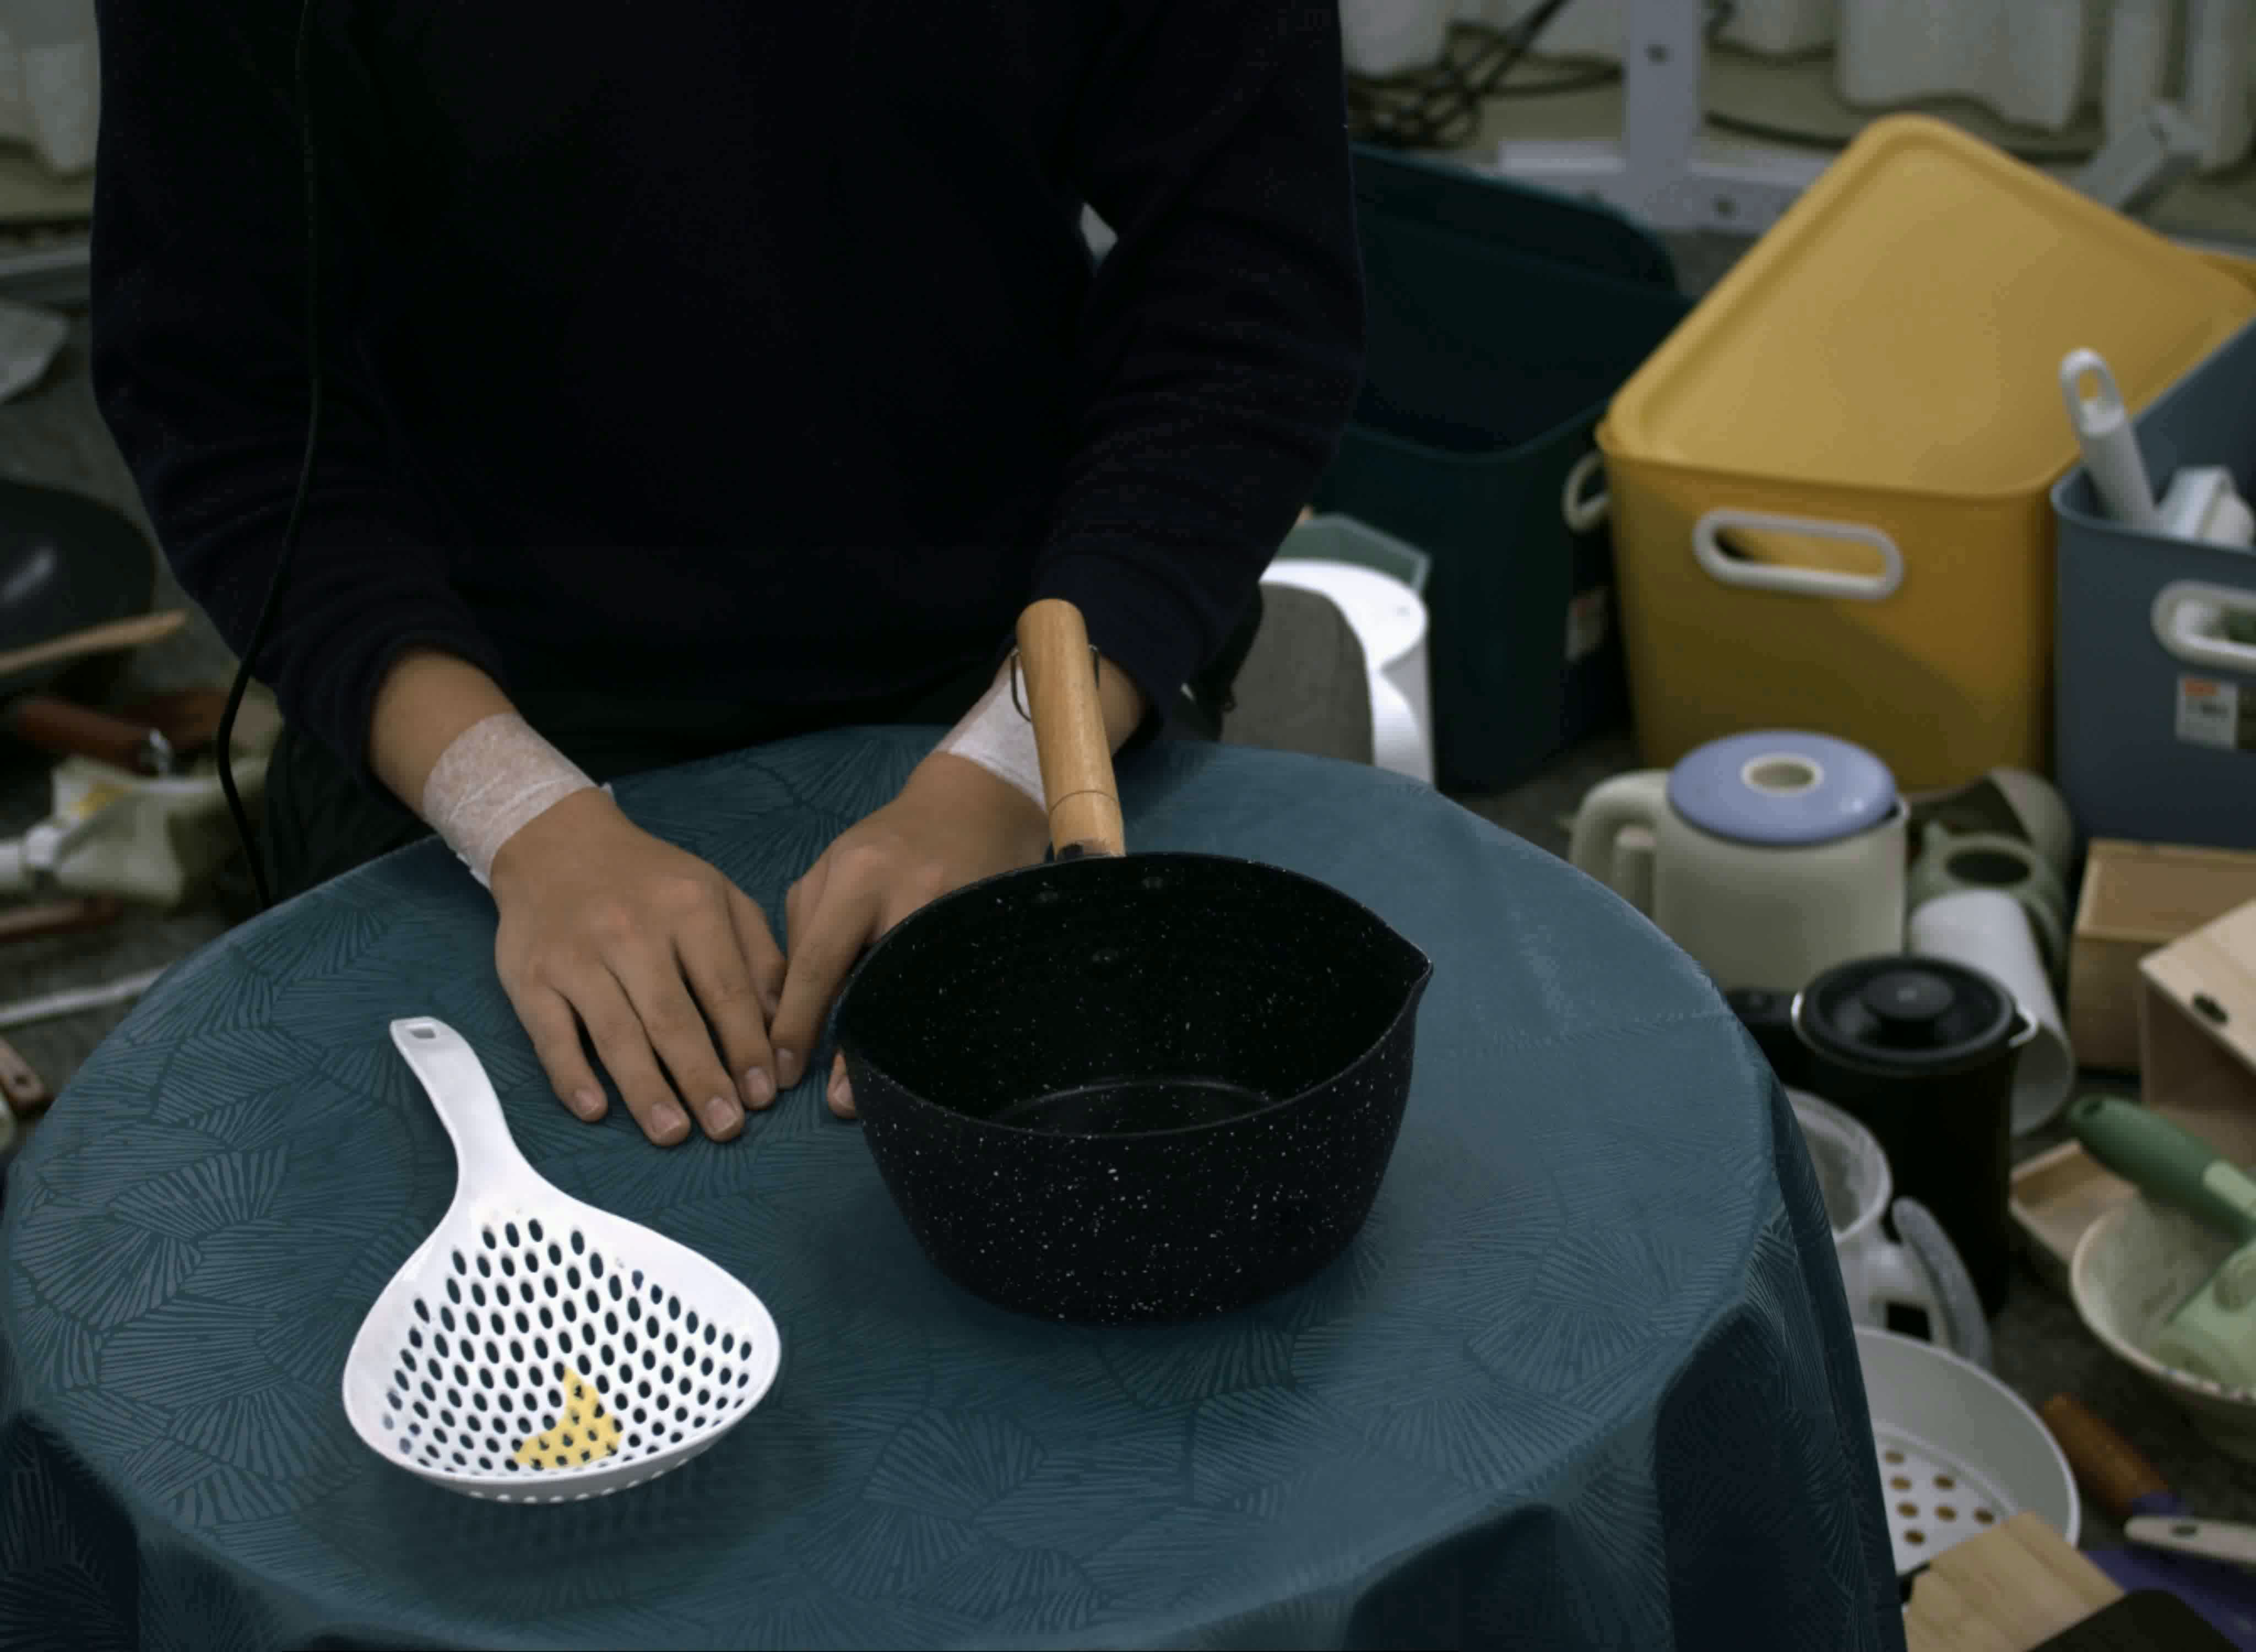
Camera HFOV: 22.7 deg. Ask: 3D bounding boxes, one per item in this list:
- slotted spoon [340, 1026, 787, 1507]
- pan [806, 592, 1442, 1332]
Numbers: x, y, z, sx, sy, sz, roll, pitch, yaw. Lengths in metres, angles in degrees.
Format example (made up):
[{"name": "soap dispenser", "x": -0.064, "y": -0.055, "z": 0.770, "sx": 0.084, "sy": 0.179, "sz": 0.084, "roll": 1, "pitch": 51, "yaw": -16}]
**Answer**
[{"name": "slotted spoon", "x": -0.205, "y": 0.130, "z": 1.820, "sx": 0.137, "sy": 0.050, "sz": 0.351, "roll": -12, "pitch": 30, "yaw": -13}, {"name": "pan", "x": -0.009, "y": 0.042, "z": 1.900, "sx": 0.207, "sy": 0.107, "sz": 0.347, "roll": -7, "pitch": 29, "yaw": -5}]
